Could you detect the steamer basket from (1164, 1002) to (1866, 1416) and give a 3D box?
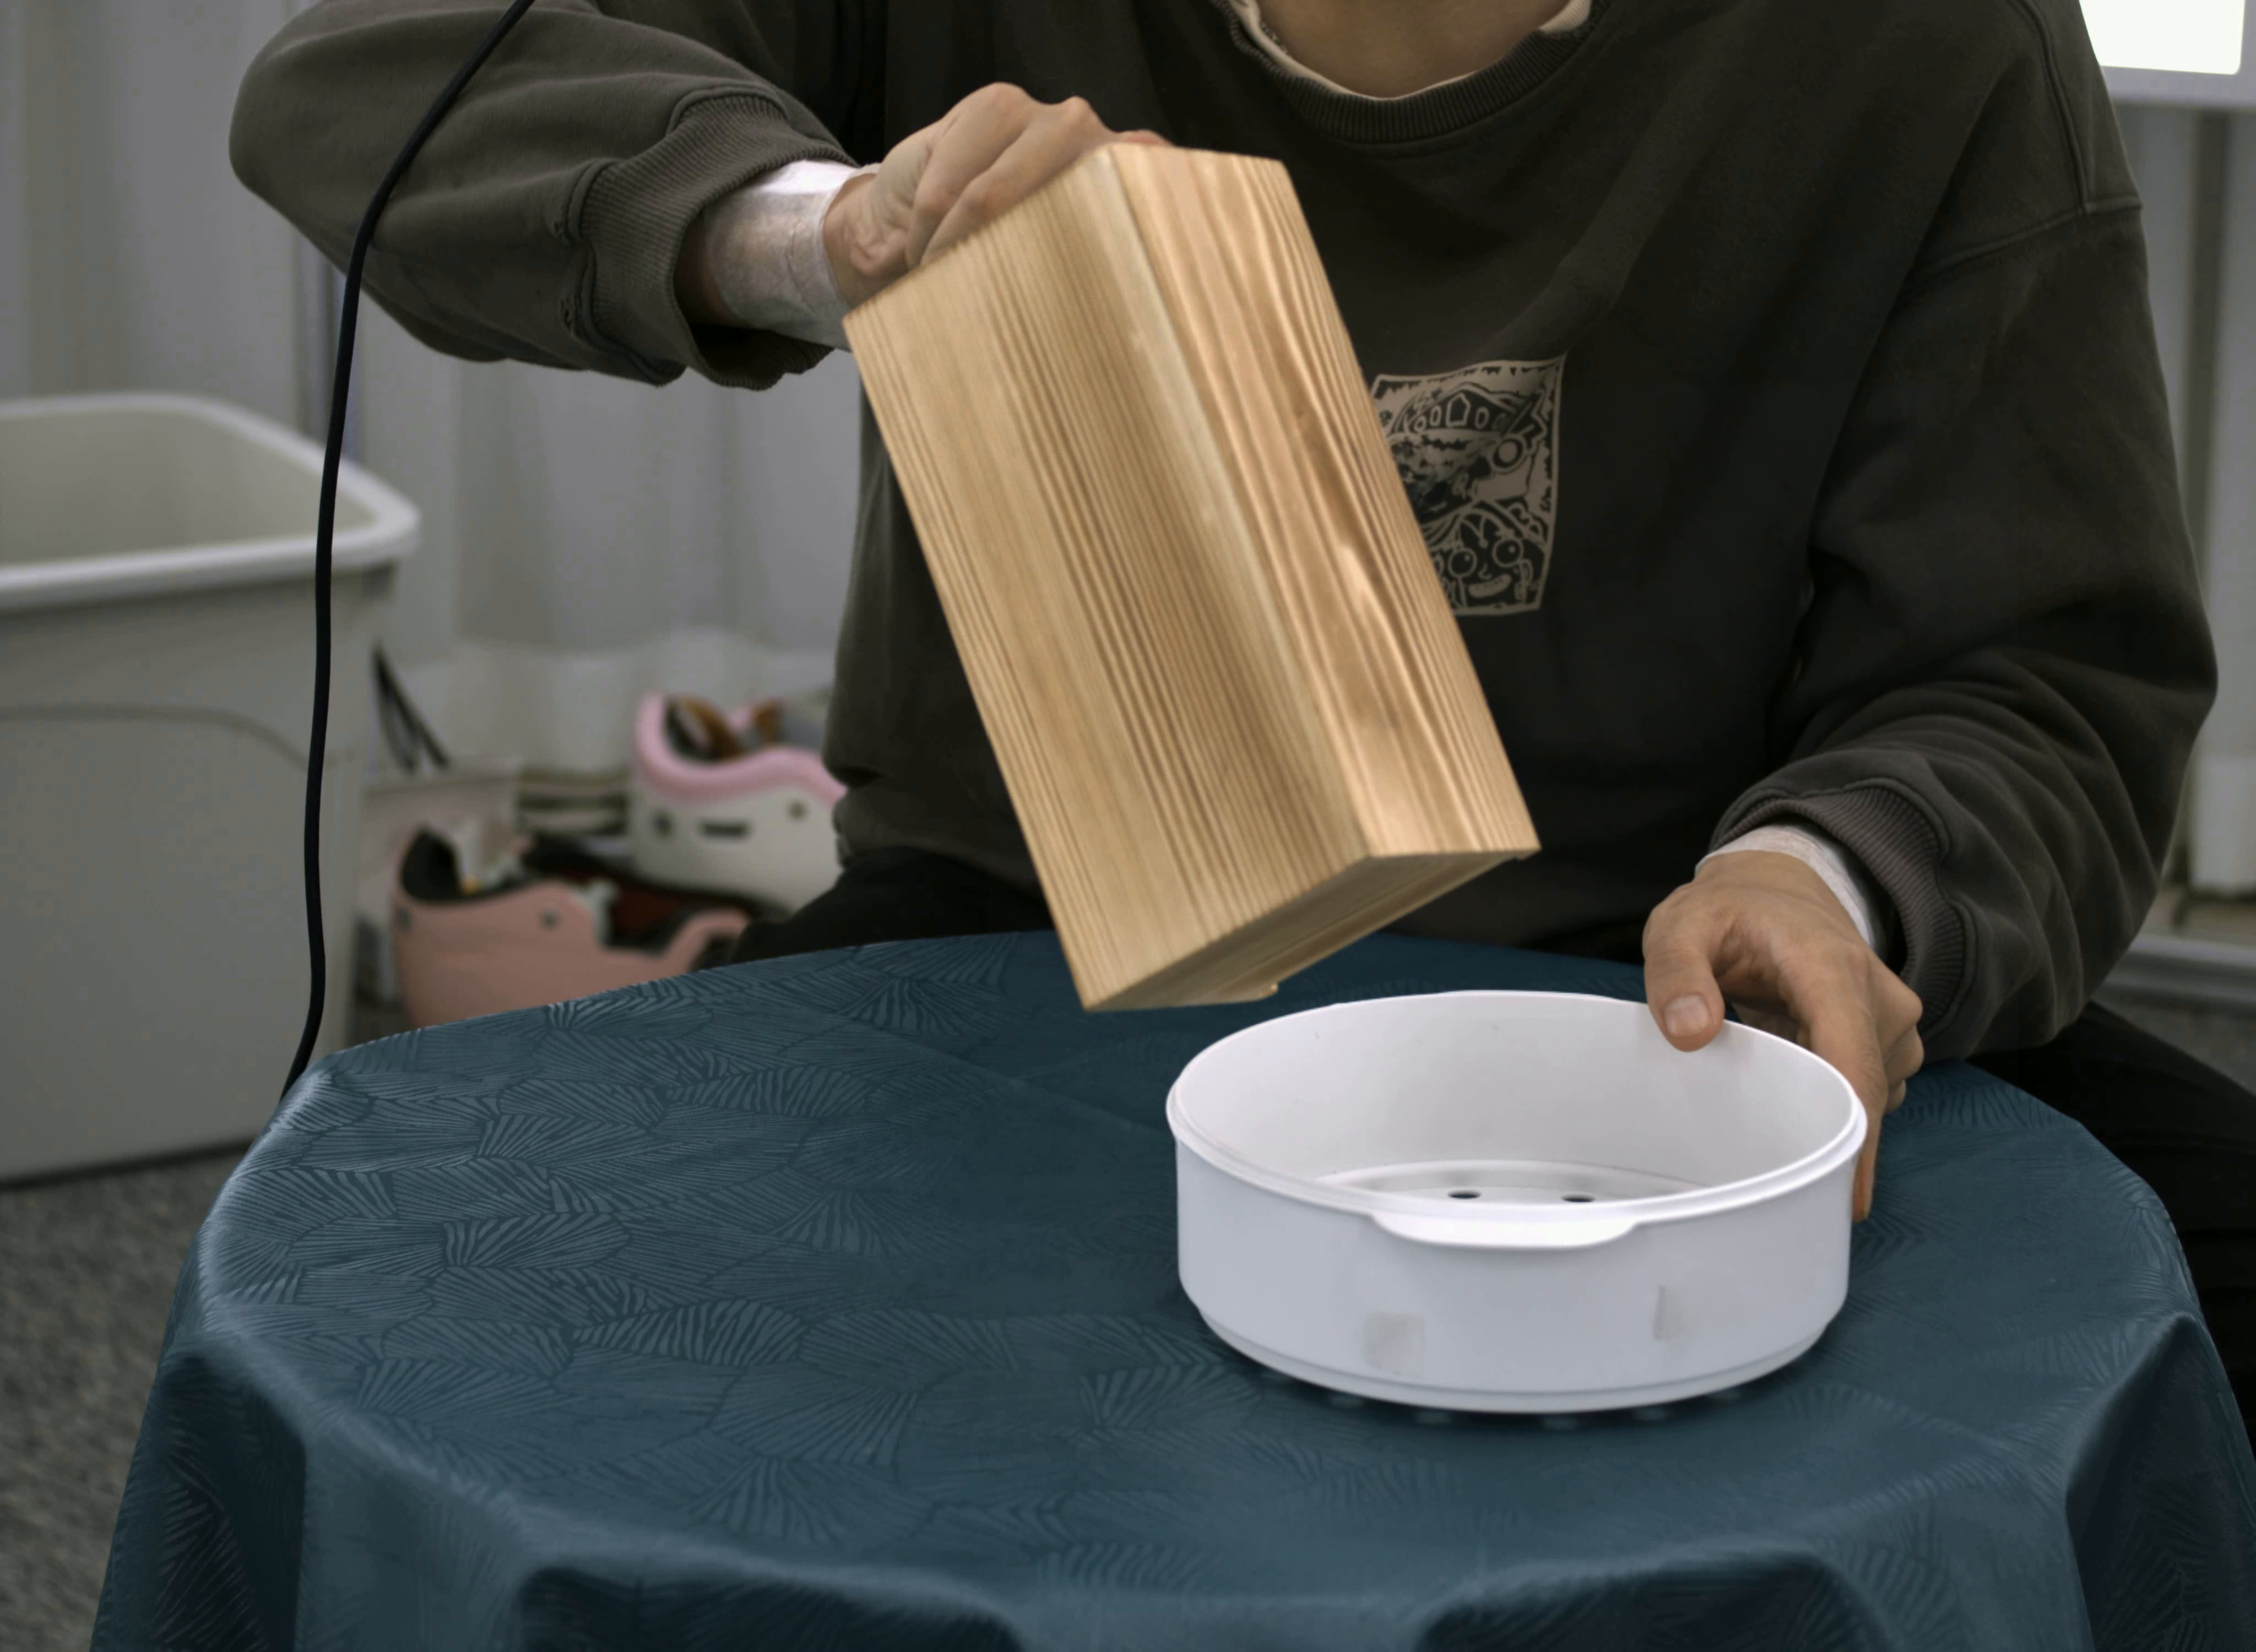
[{"bbox_3d":[0.110,0.109,1.518,0.201,0.070,0.230,2,15,5],"label":"steamer basket"}]

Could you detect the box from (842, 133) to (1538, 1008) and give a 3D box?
[{"bbox_3d":[0.015,-0.069,1.437,0.107,0.210,0.081,-29,-16,34],"label":"box"}]
